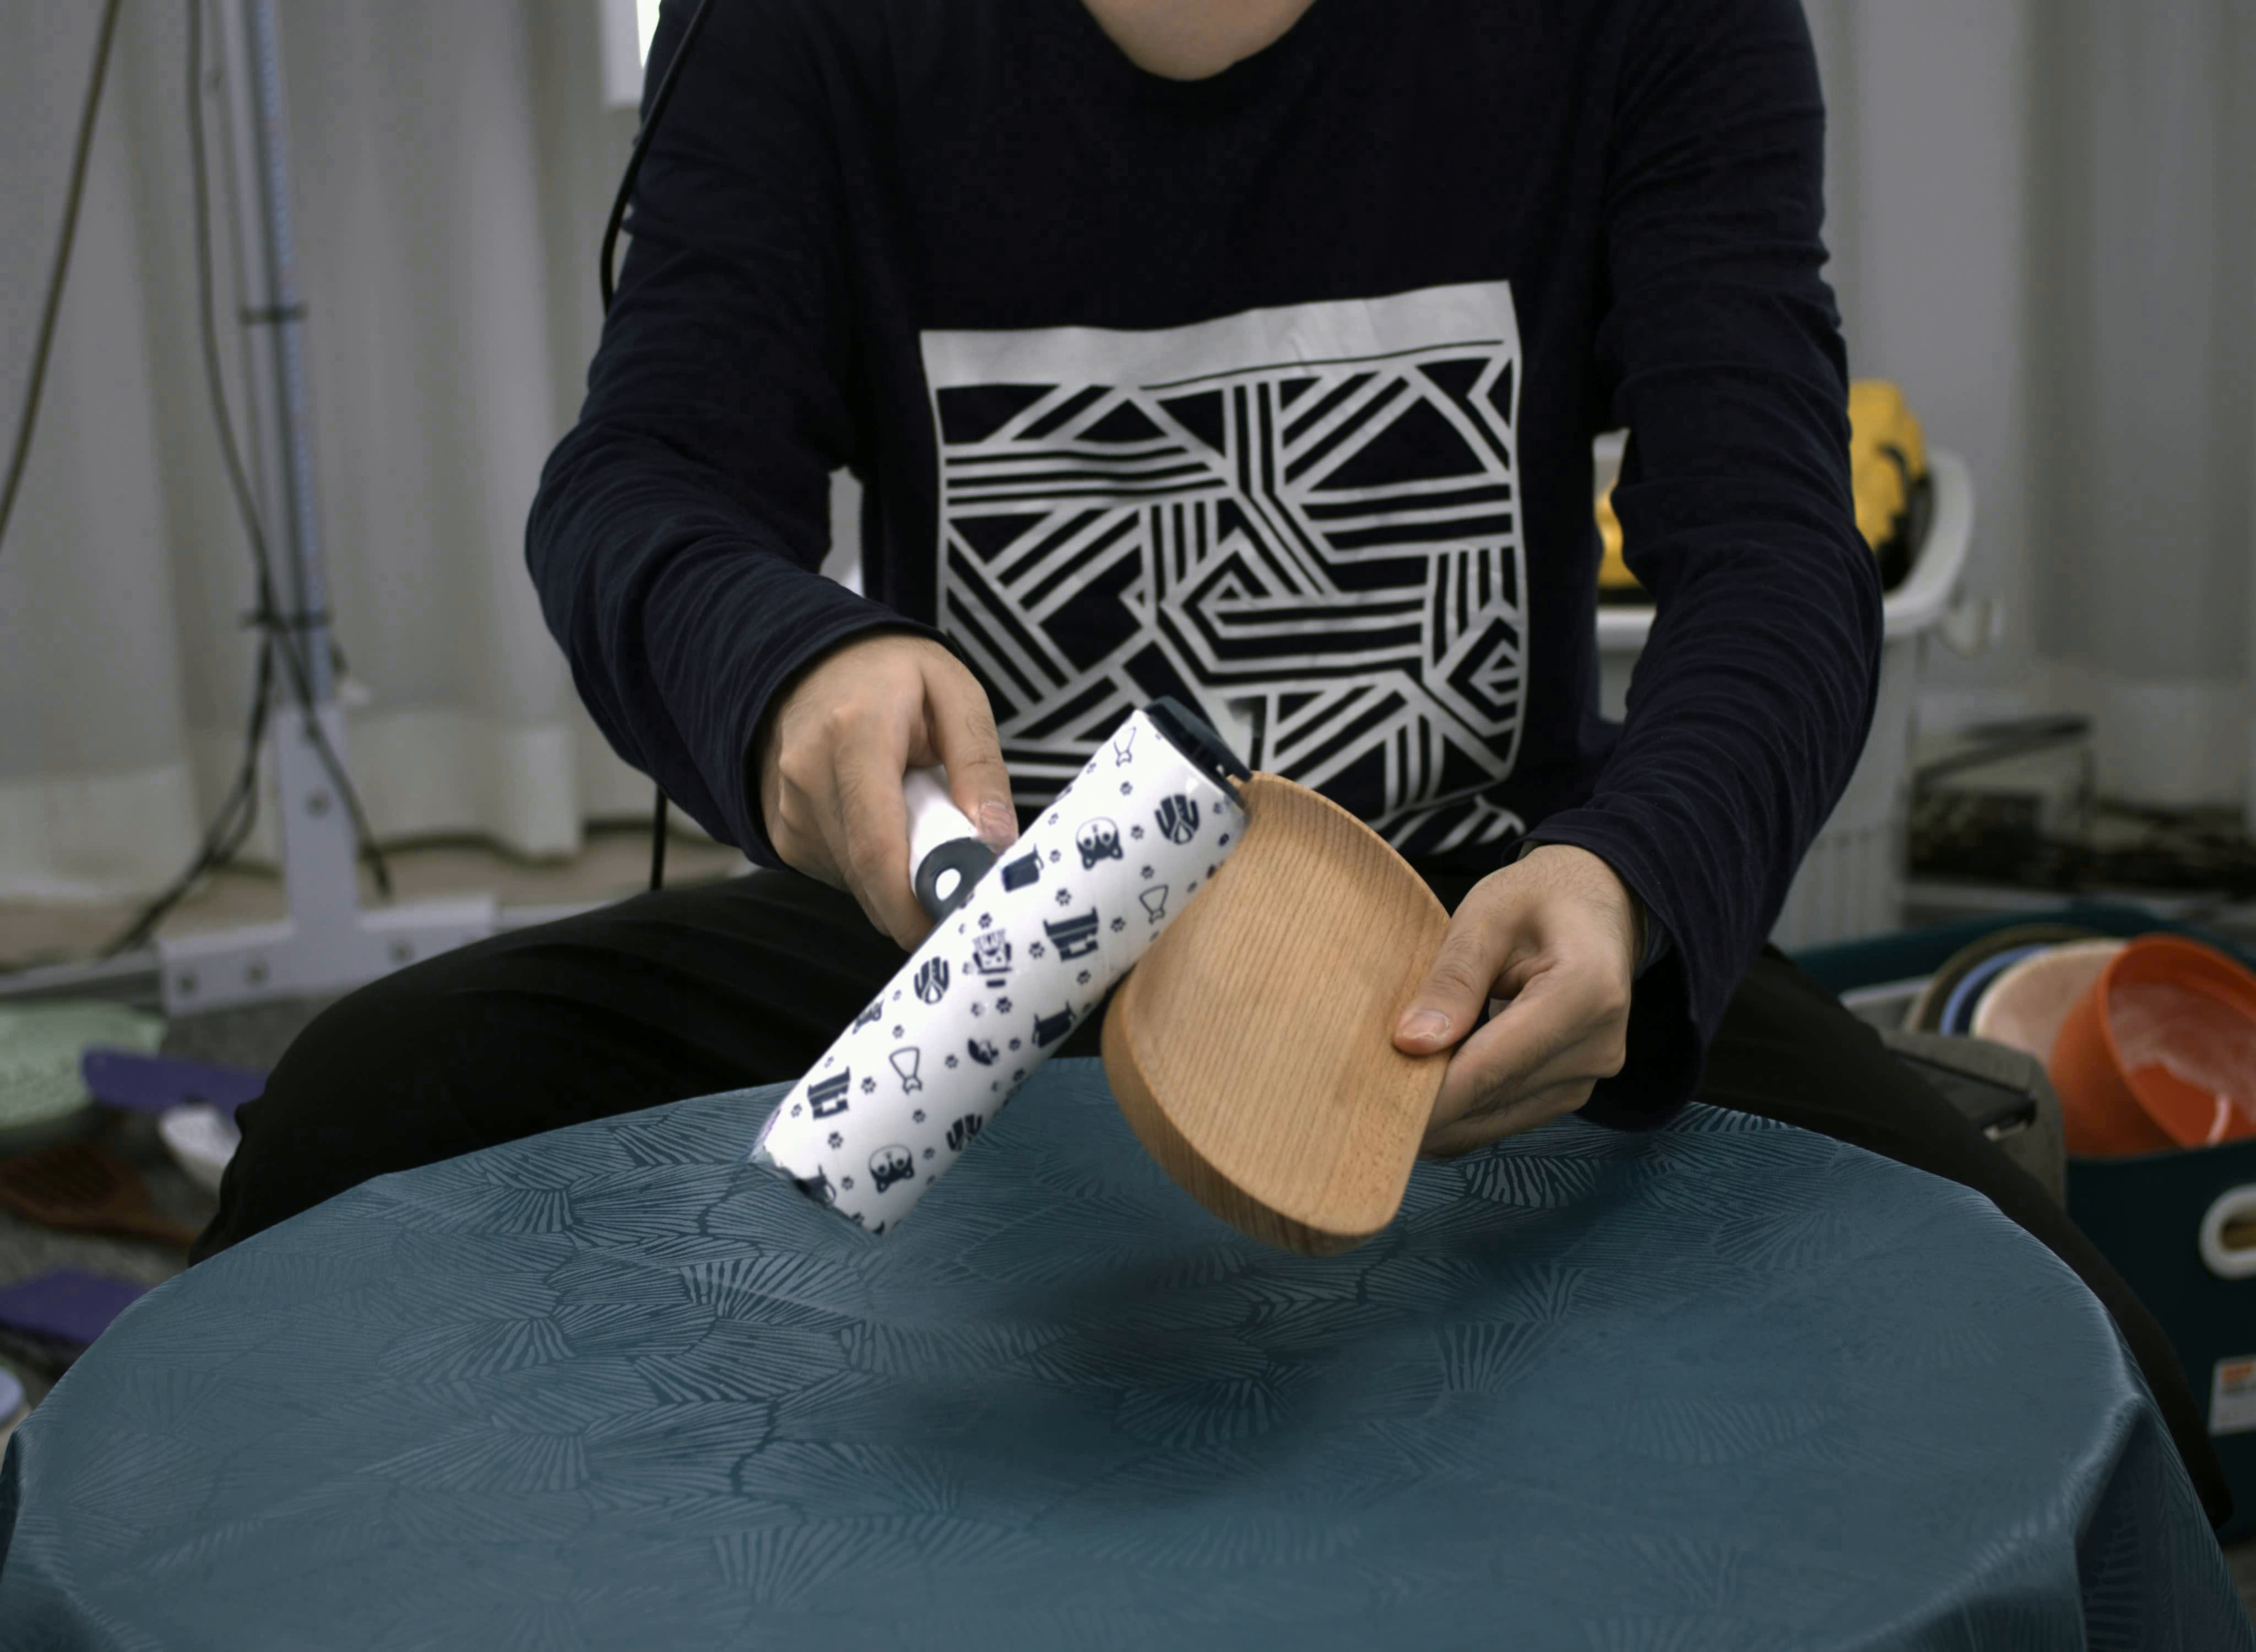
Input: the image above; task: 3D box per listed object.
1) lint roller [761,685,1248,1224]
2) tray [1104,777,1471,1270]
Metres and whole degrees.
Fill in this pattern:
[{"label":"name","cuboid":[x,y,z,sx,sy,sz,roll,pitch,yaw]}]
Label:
[{"label":"lint roller","cuboid":[-0.054,0.013,1.633,0.050,0.176,0.249,40,4,-18]},{"label":"tray","cuboid":[0.047,0.055,1.585,0.101,0.020,0.233,37,28,-6]}]
